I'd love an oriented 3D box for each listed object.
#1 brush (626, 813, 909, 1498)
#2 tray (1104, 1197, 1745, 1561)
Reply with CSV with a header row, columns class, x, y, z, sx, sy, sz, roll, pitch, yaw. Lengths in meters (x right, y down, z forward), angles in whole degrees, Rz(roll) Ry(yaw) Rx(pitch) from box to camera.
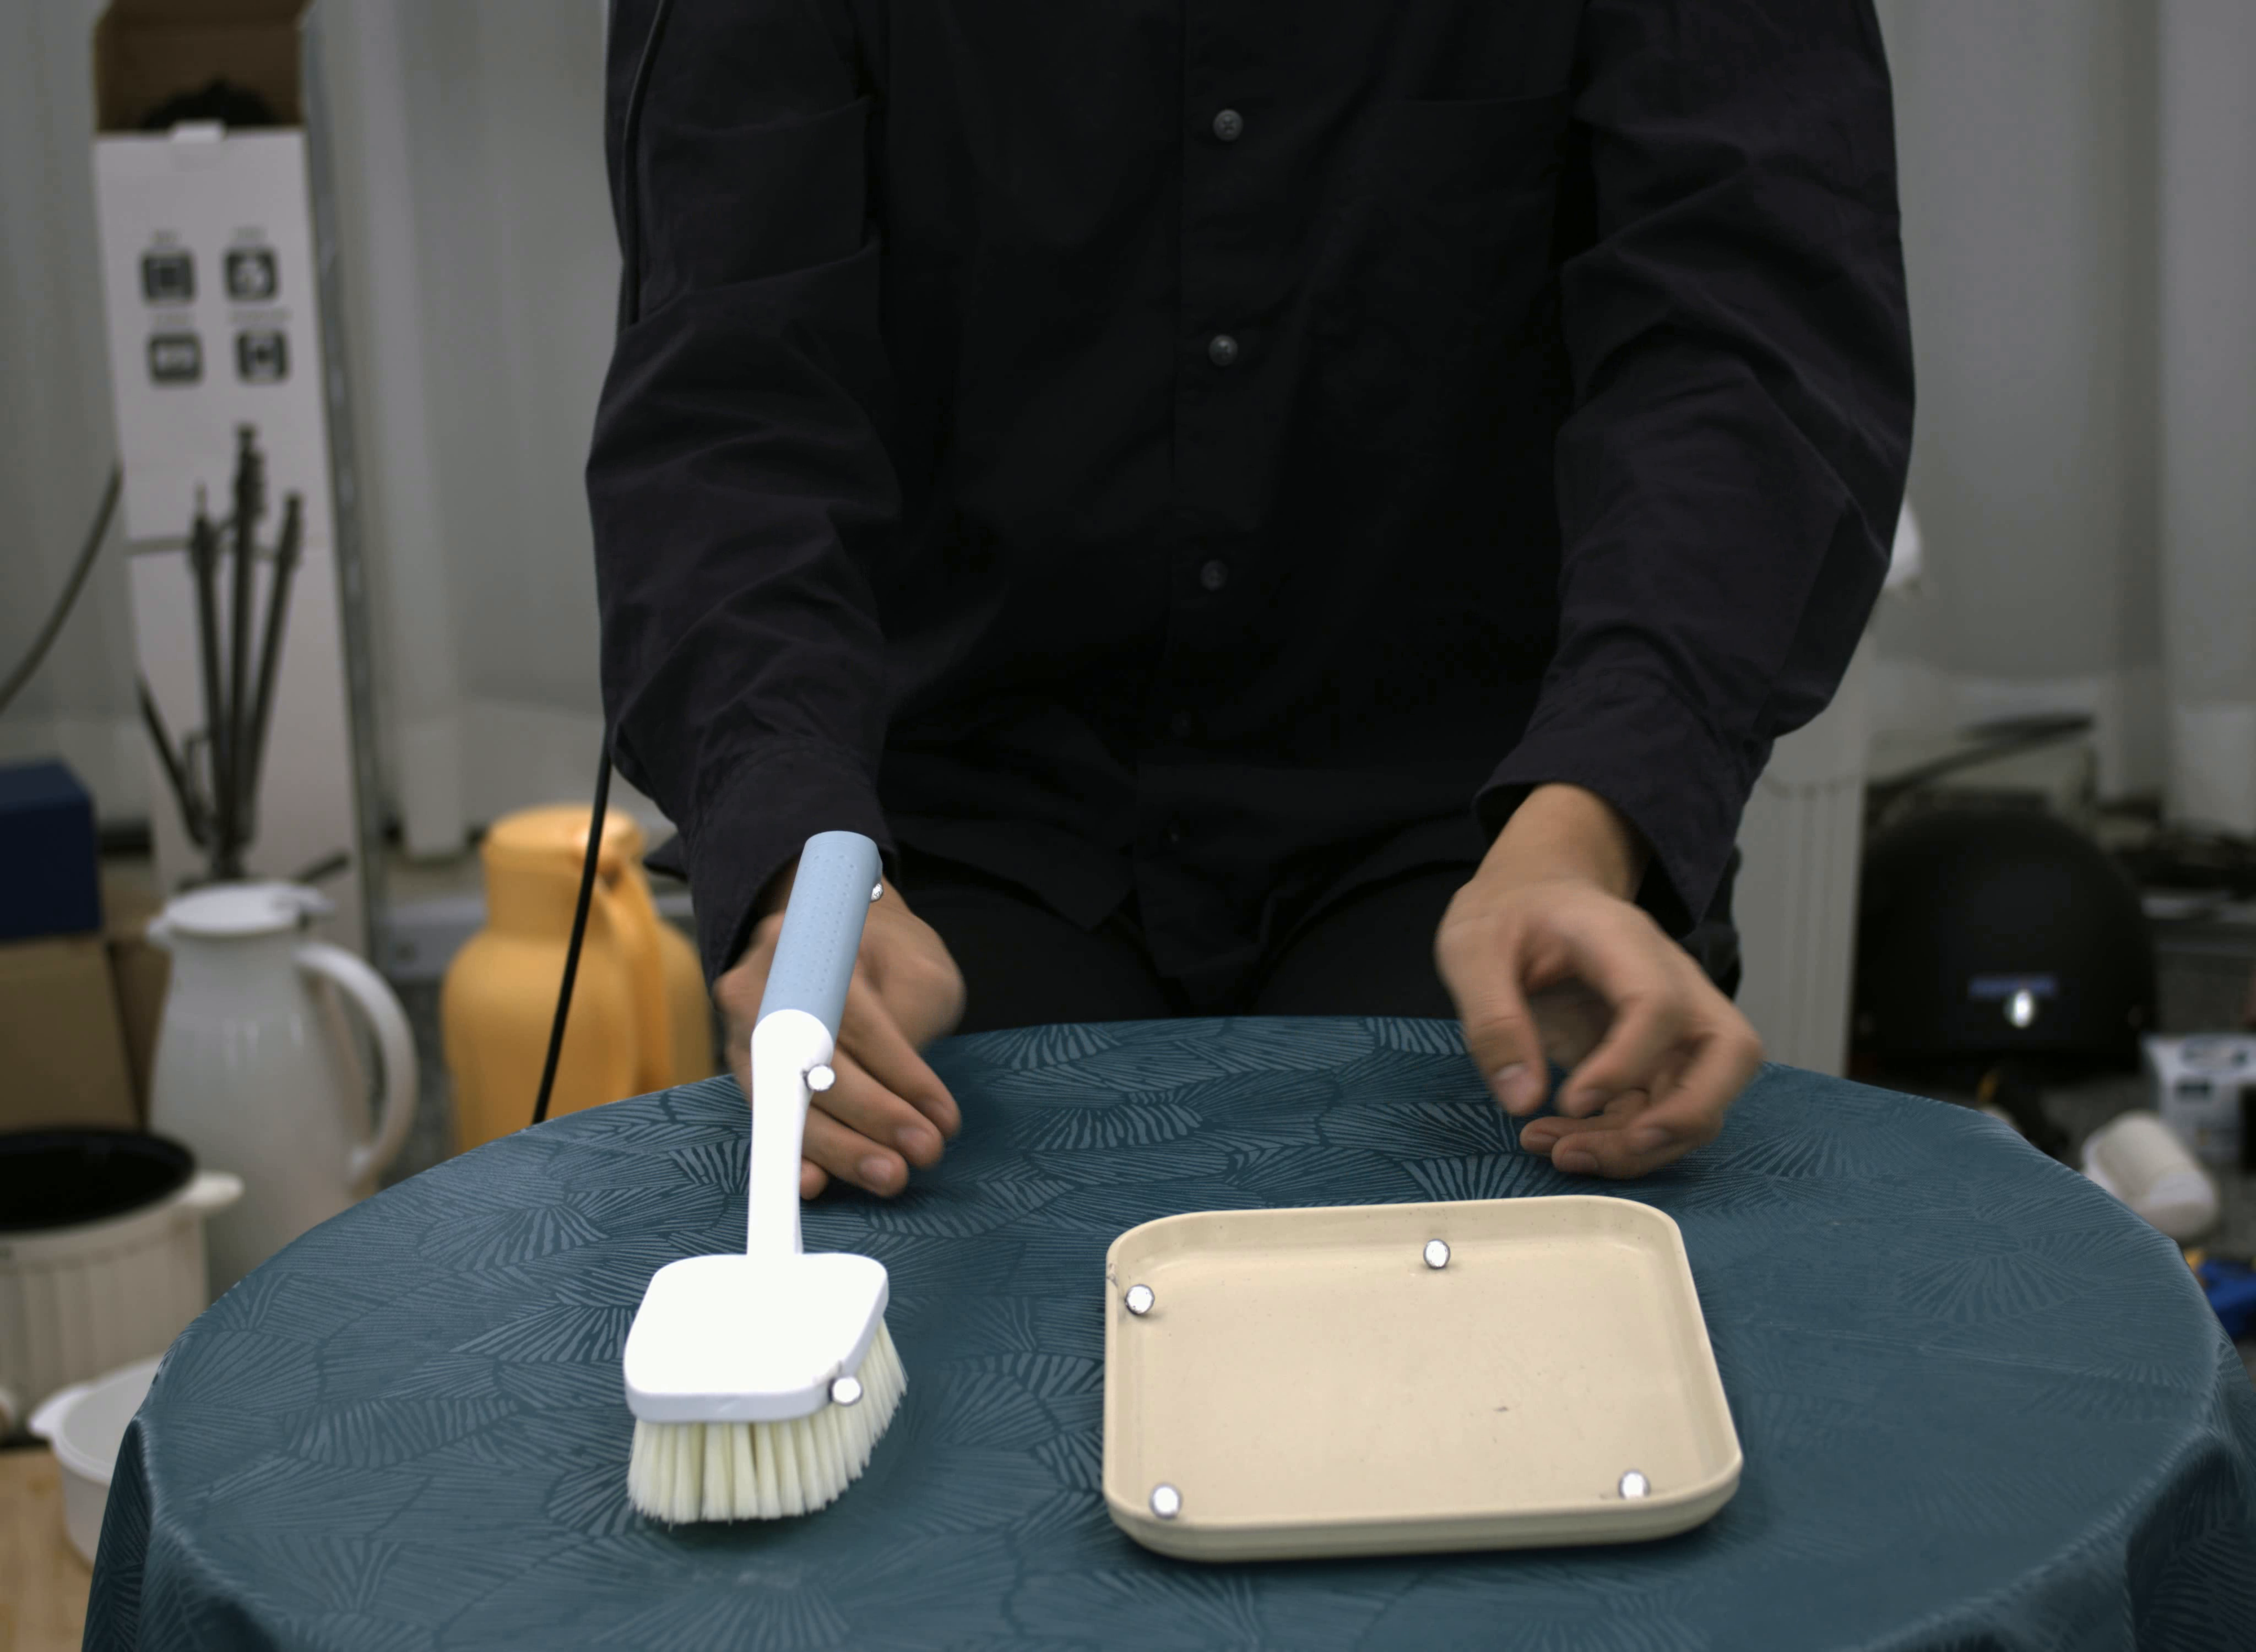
class,x,y,z,sx,sy,sz,roll,pitch,yaw
brush,-0.092,0.107,1.601,0.082,0.084,0.329,32,25,-11
tray,0.078,0.153,1.528,0.171,0.017,0.241,-2,15,1
